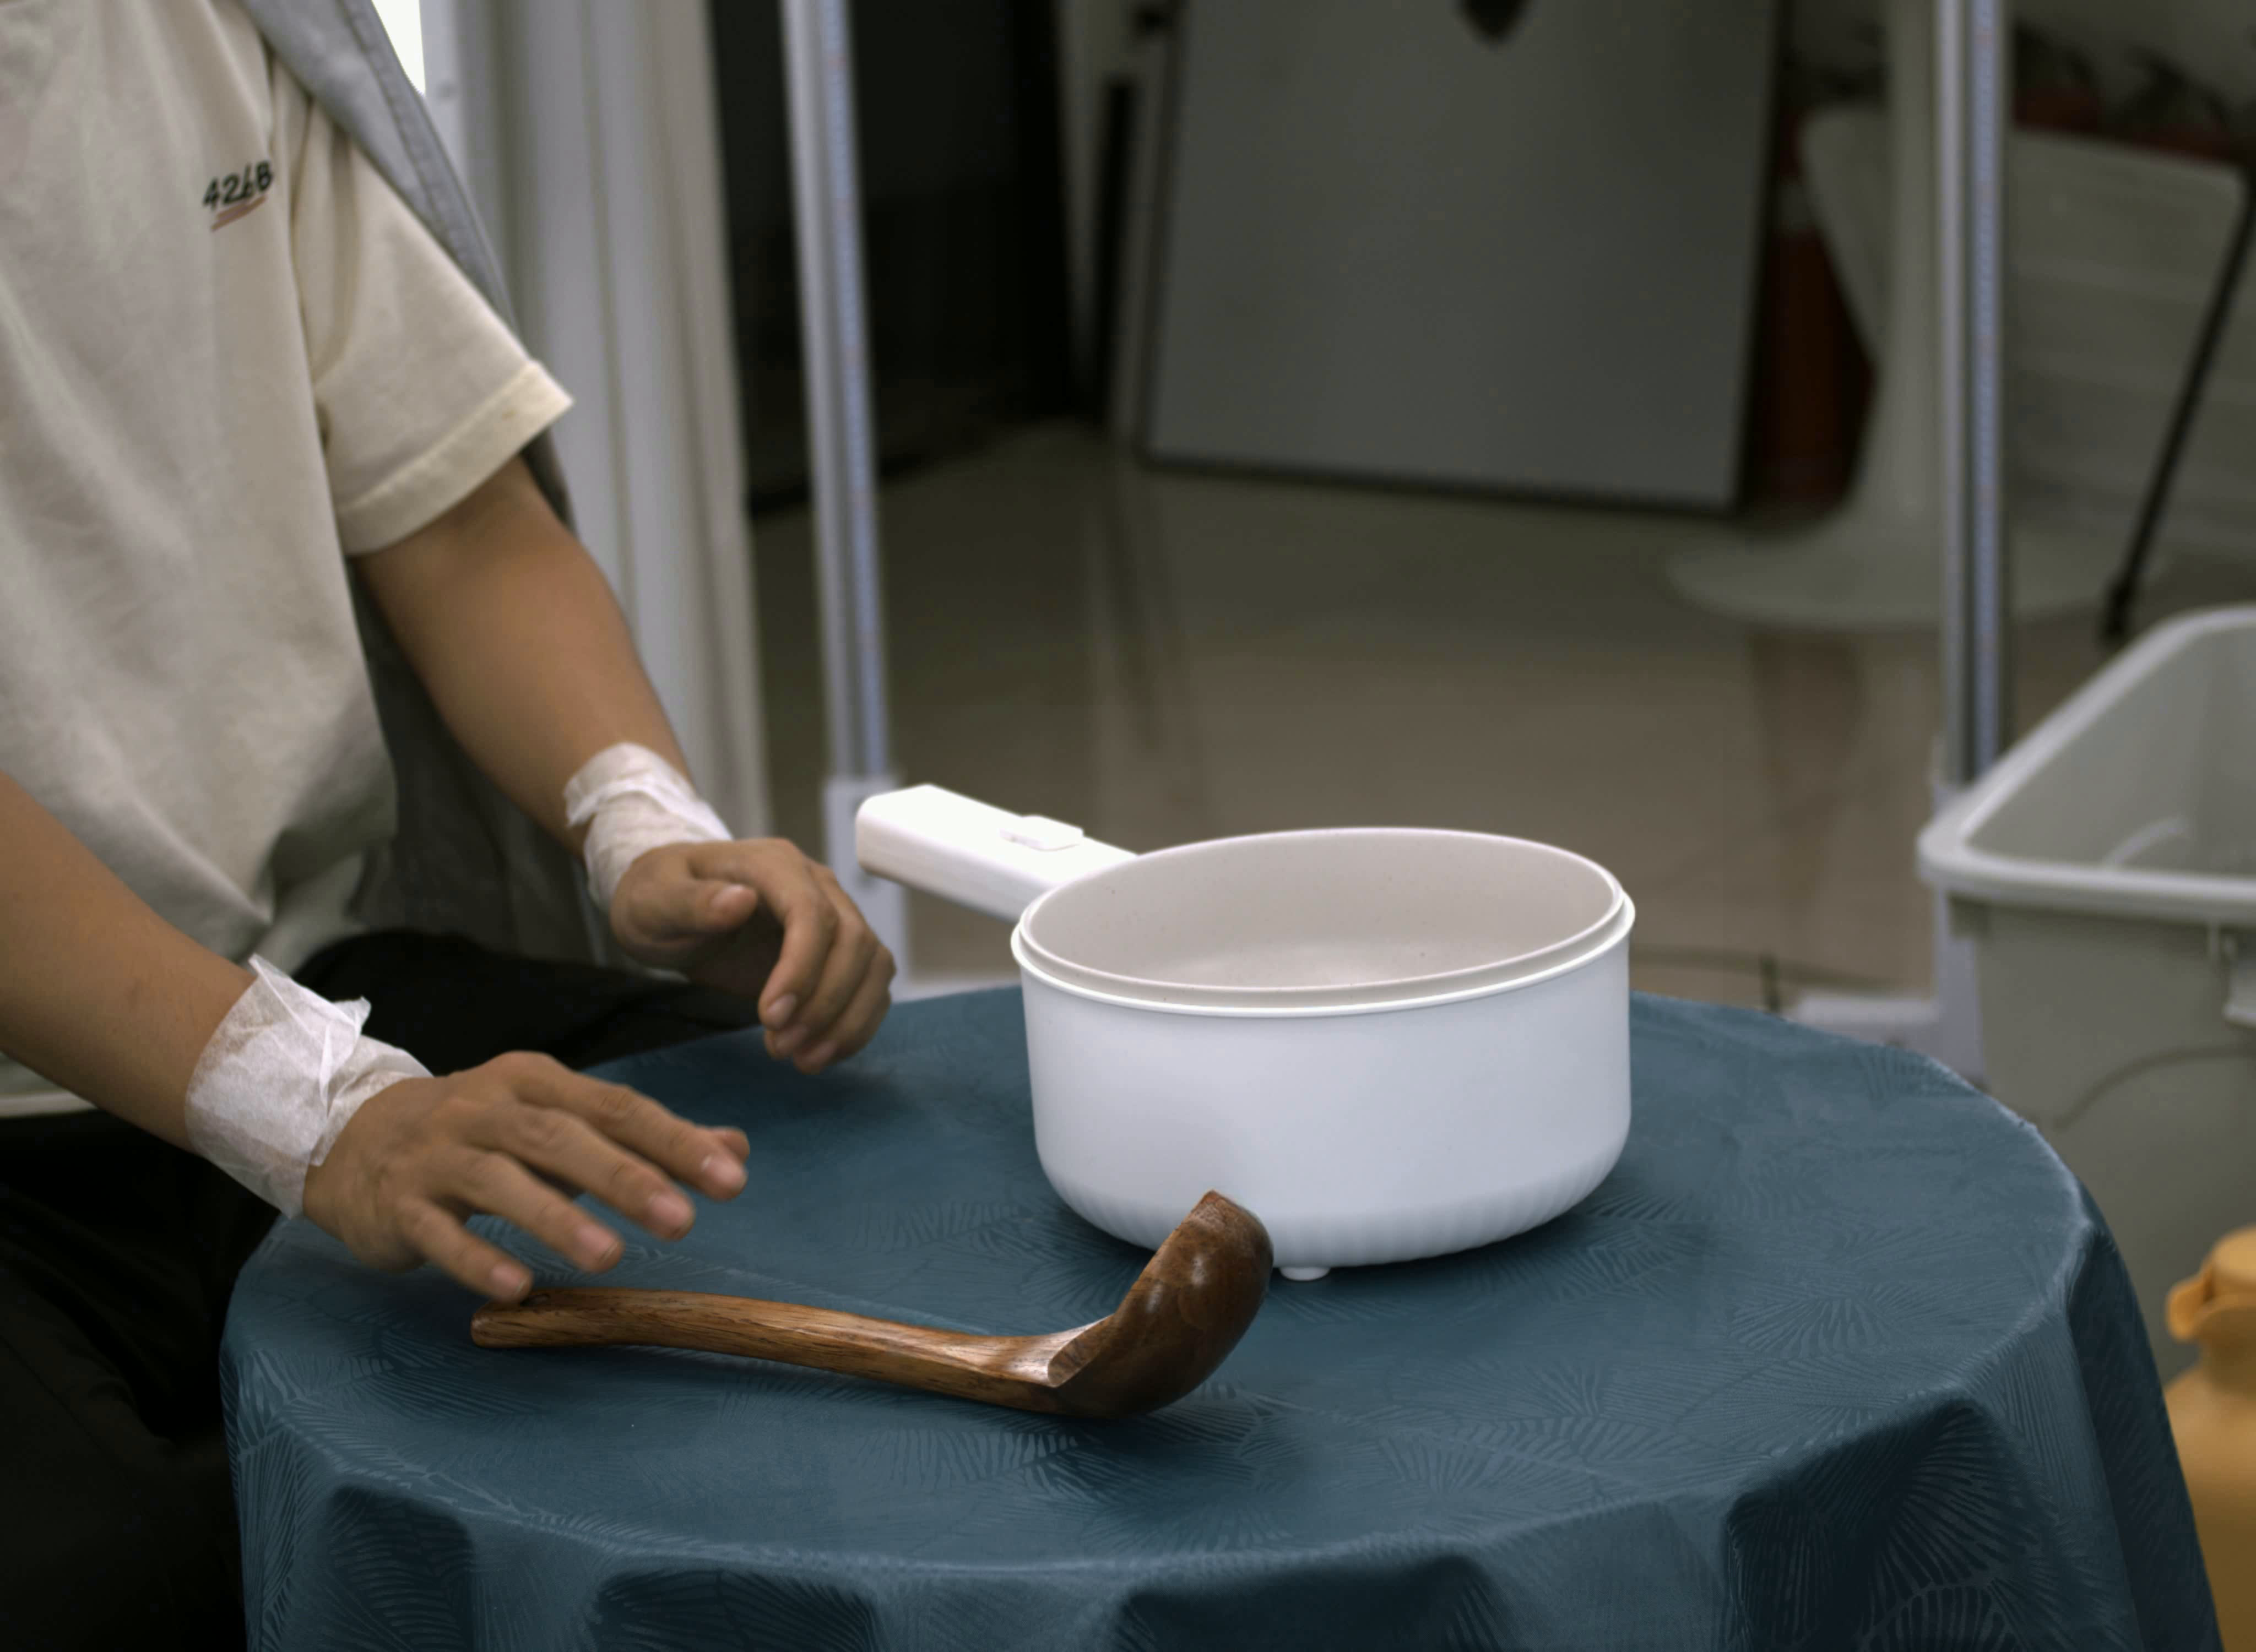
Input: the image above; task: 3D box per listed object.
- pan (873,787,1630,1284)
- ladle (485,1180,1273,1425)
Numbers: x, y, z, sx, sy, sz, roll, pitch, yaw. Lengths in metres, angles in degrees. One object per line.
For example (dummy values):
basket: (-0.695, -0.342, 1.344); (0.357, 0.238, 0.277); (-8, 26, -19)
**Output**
pan: (0.022, 0.062, 1.800); (0.197, 0.103, 0.358); (-13, 16, -31)
ladle: (-0.082, 0.130, 1.597); (0.275, 0.077, 0.081); (5, 19, 30)
